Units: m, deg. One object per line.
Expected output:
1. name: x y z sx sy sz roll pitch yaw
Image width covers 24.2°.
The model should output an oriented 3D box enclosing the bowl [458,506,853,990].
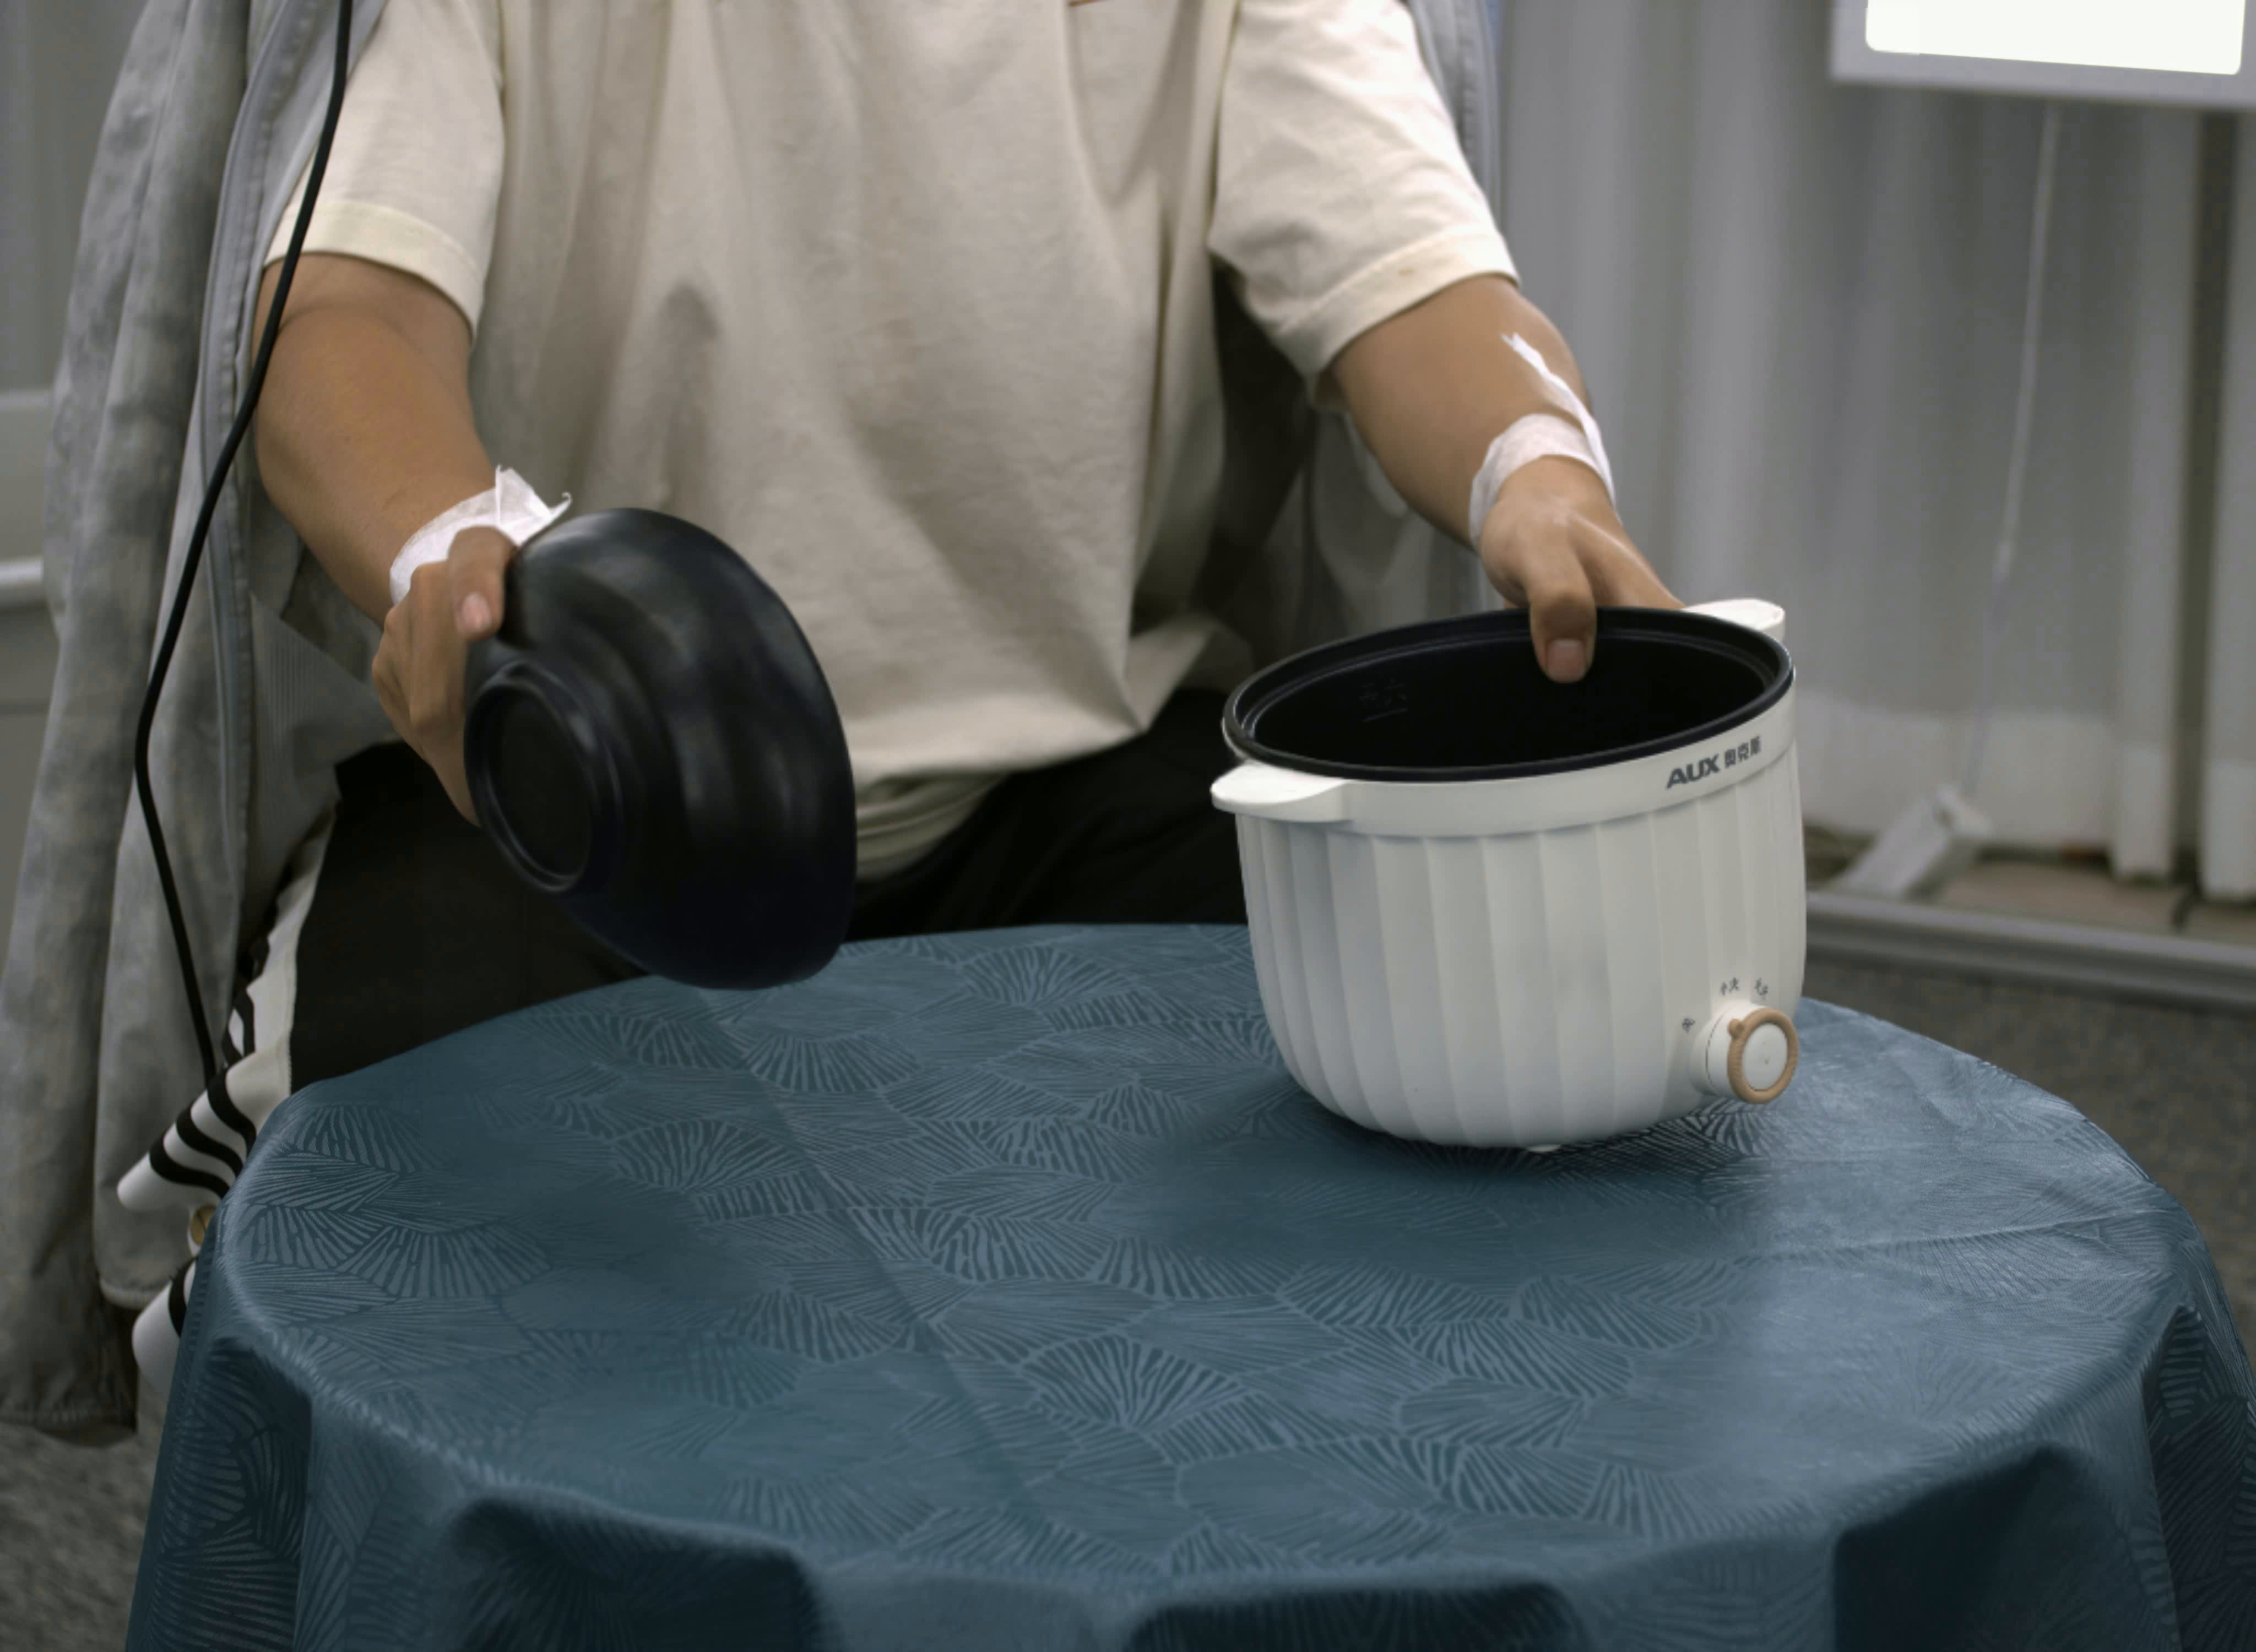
1. bowl: -0.152 -0.020 1.554 0.067 0.138 0.168 -18 50 -38

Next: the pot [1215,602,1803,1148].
1. pot: 0.131 0.018 1.685 0.241 0.144 0.188 -21 20 -38
